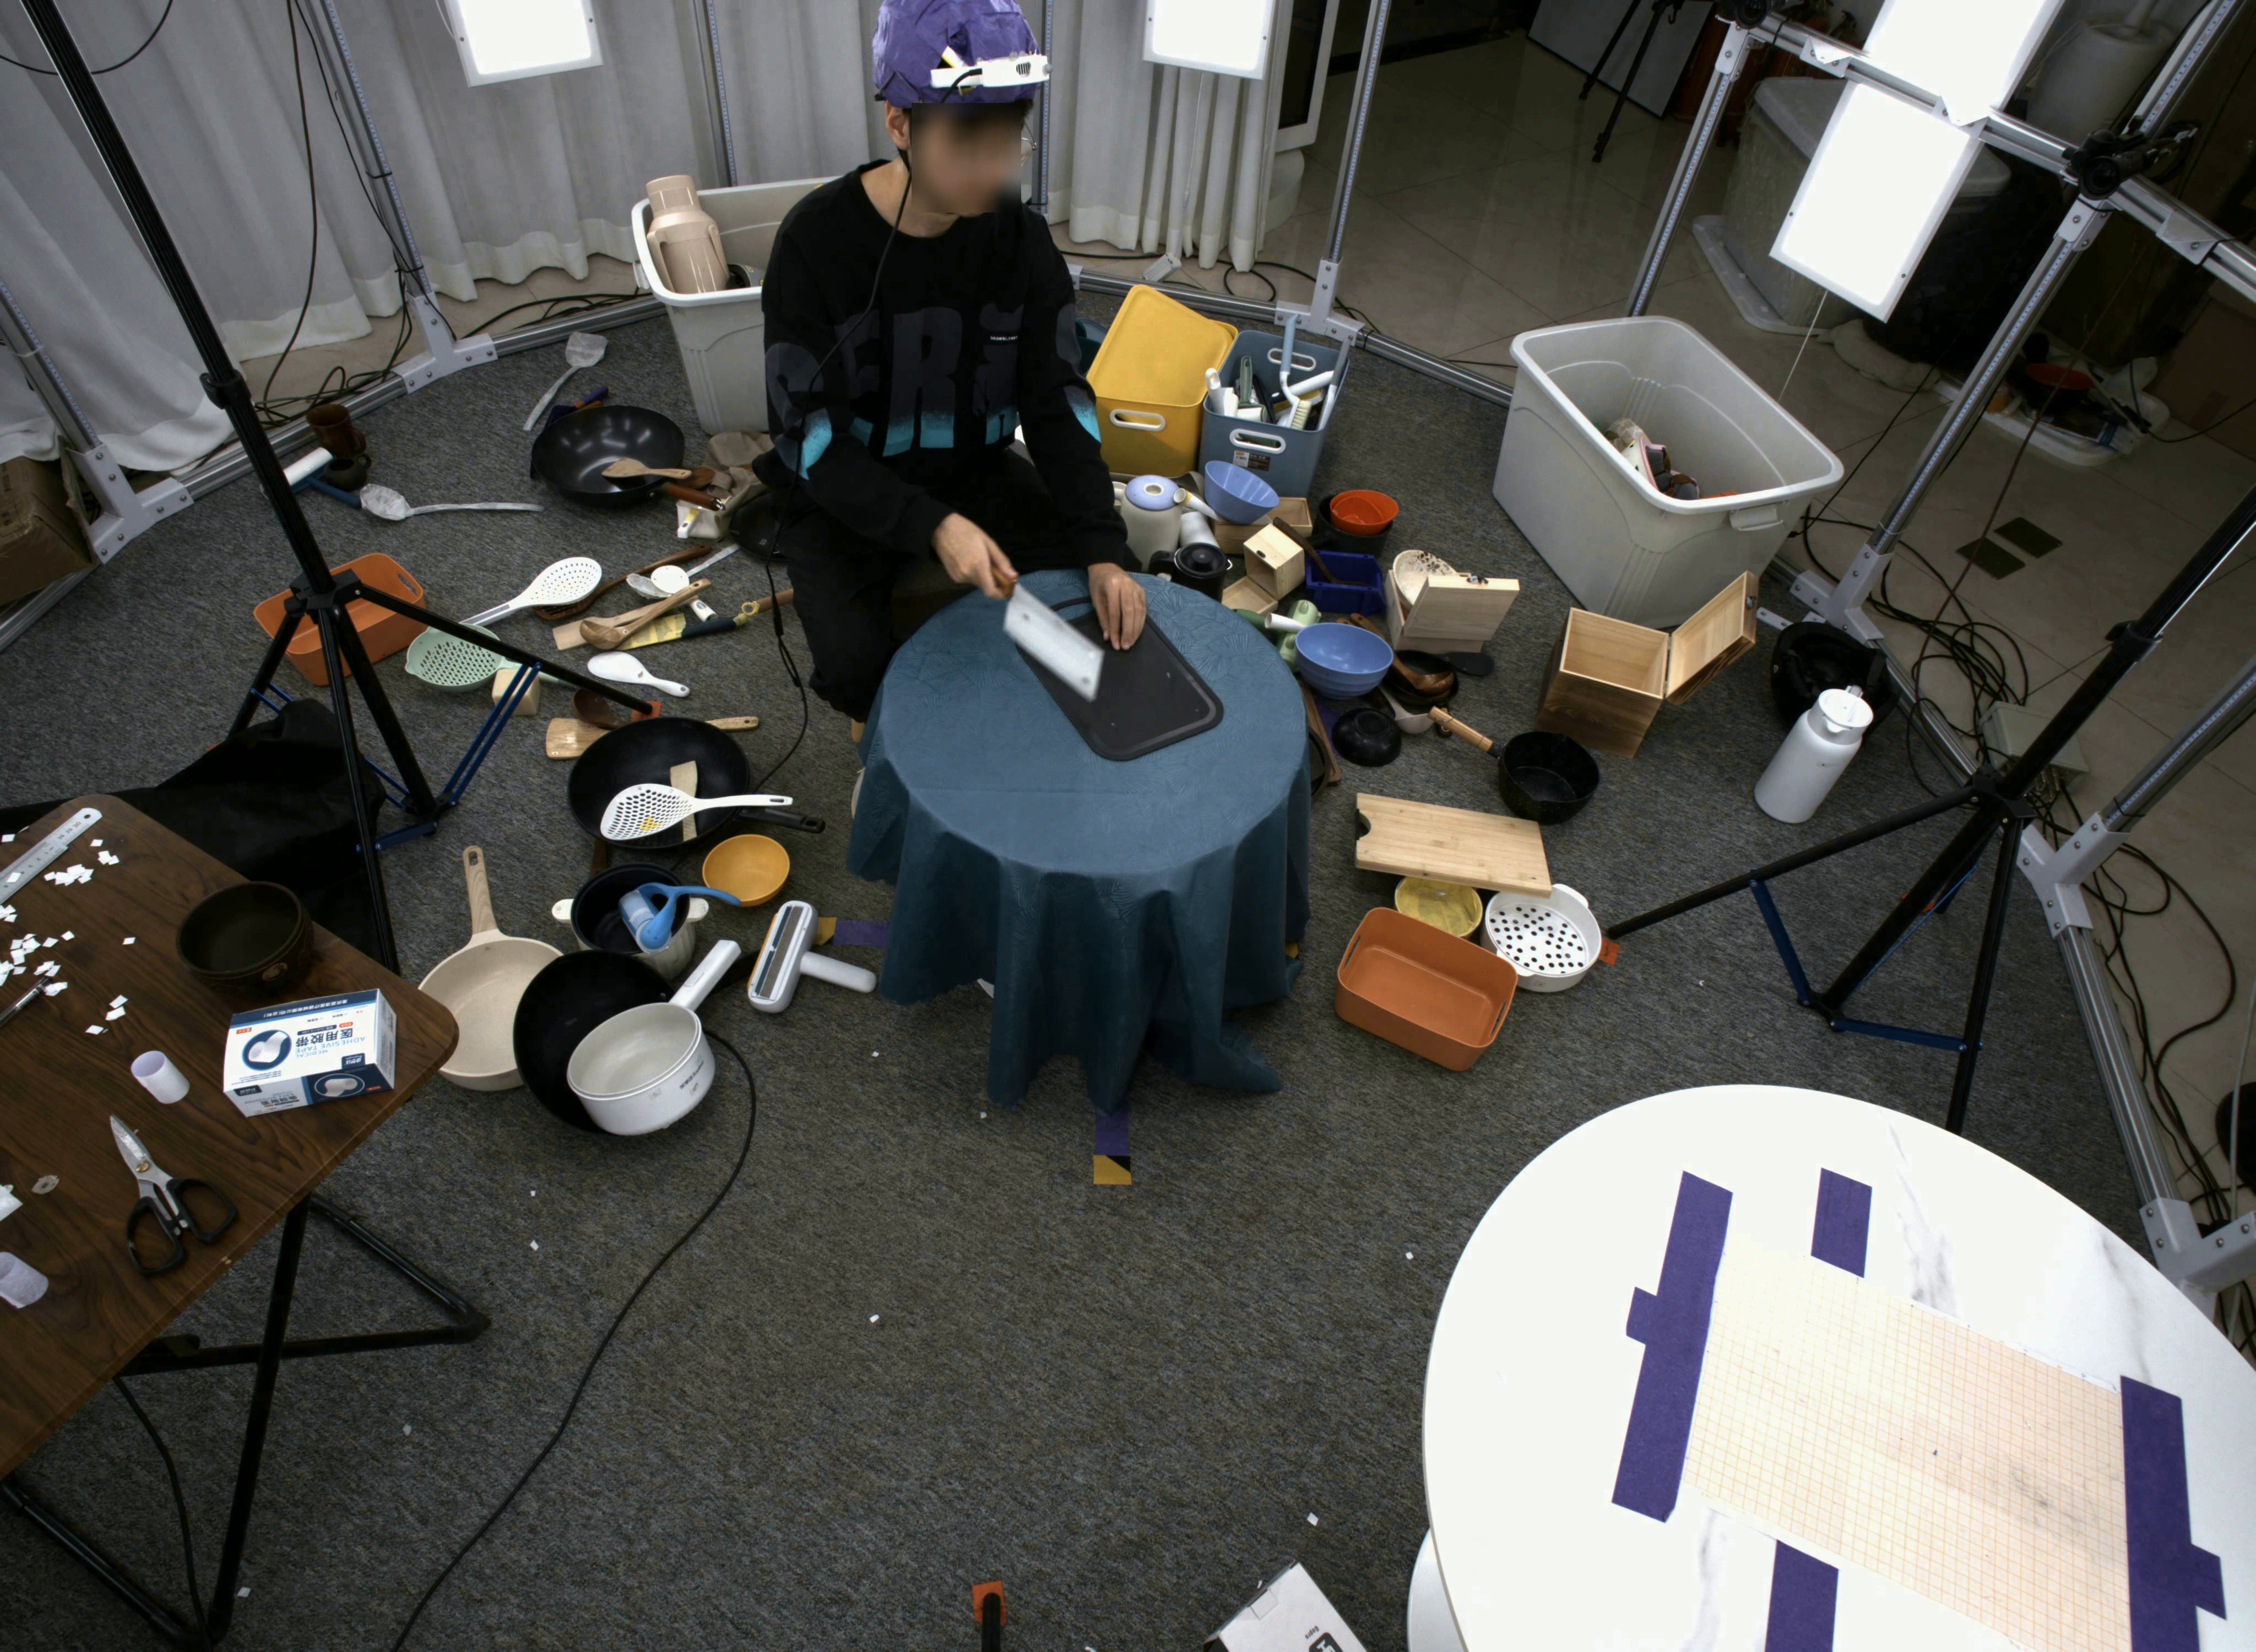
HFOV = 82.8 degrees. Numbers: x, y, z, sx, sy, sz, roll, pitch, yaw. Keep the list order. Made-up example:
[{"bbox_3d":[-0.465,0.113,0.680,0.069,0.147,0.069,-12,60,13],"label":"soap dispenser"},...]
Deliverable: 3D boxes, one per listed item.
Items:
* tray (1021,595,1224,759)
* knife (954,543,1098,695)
[{"bbox_3d":[-0.016,-0.227,1.860,0.211,0.009,0.332,-21,54,-21],"label":"tray"},{"bbox_3d":[-0.148,-0.289,1.809,0.021,0.091,0.311,-25,55,-37],"label":"knife"}]
